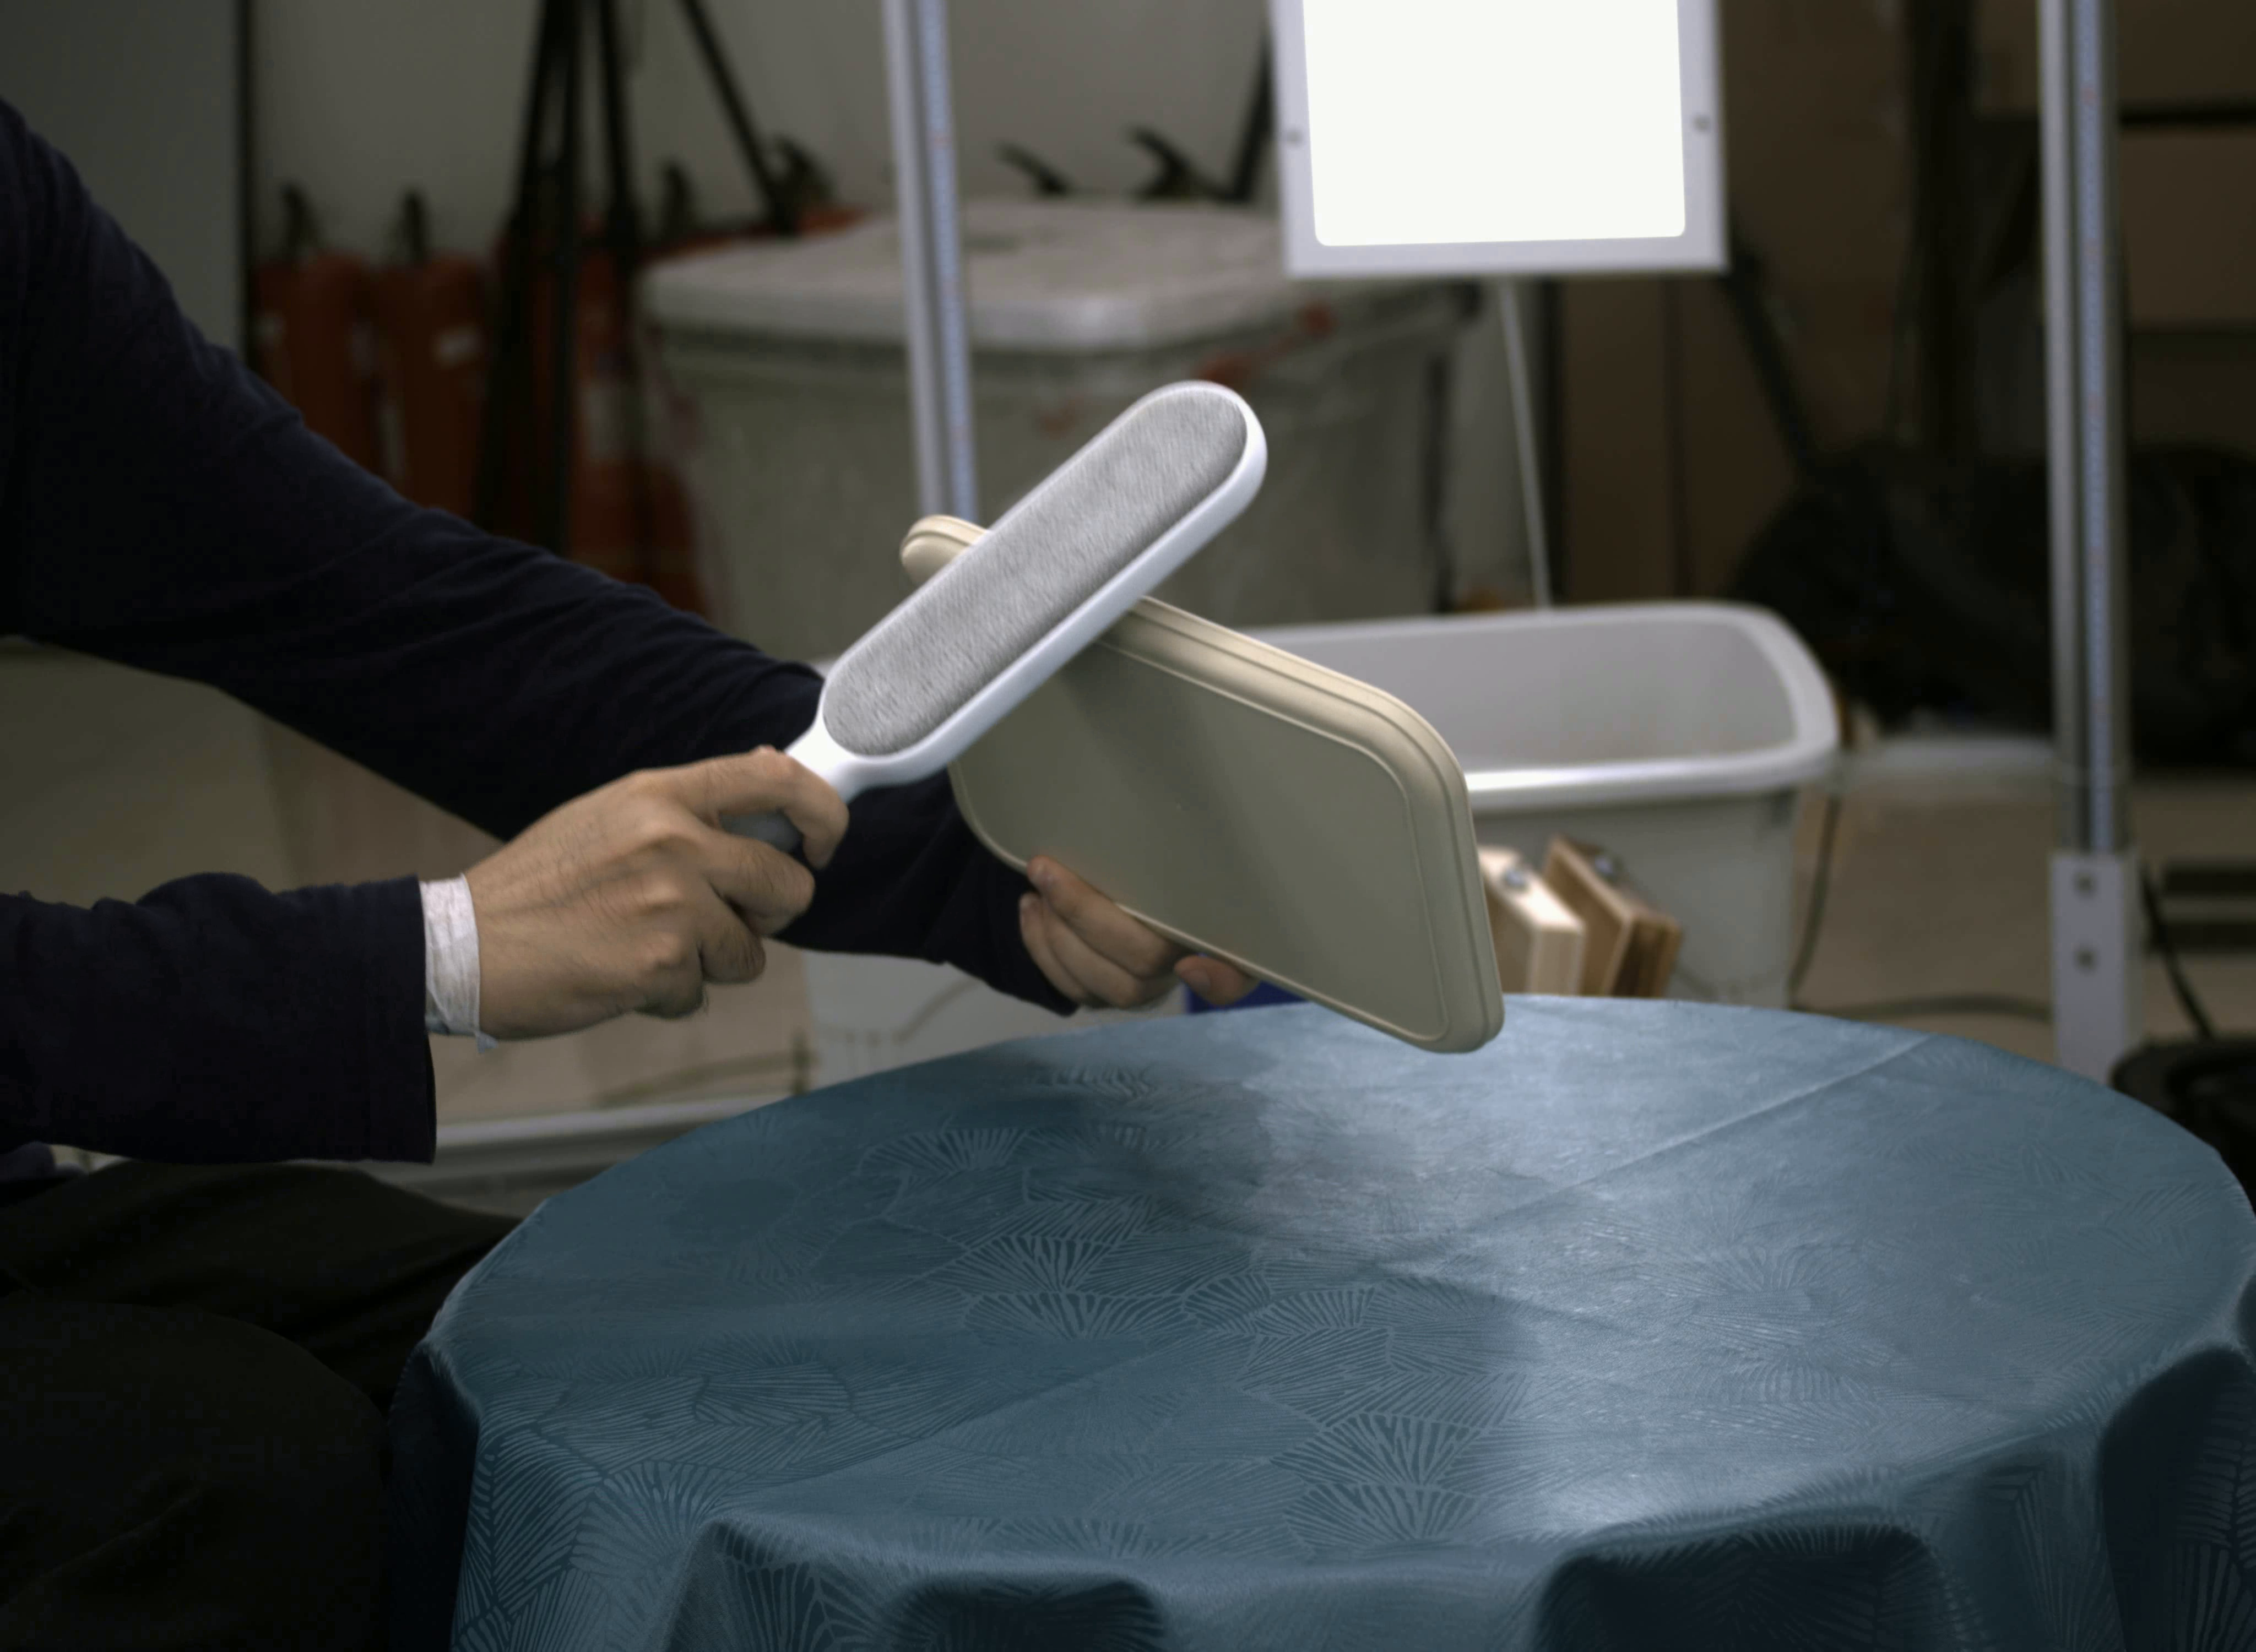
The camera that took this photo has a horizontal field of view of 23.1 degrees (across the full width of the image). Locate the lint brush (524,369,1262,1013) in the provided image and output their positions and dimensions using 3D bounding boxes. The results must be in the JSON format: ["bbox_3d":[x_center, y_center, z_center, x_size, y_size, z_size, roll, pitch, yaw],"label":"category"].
[{"bbox_3d":[-0.079,-0.044,1.817,0.308,0.020,0.061,-41,55,0],"label":"lint brush"}]

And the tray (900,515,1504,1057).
[{"bbox_3d":[0.022,-0.011,1.887,0.244,0.171,0.017,24,56,32],"label":"tray"}]
